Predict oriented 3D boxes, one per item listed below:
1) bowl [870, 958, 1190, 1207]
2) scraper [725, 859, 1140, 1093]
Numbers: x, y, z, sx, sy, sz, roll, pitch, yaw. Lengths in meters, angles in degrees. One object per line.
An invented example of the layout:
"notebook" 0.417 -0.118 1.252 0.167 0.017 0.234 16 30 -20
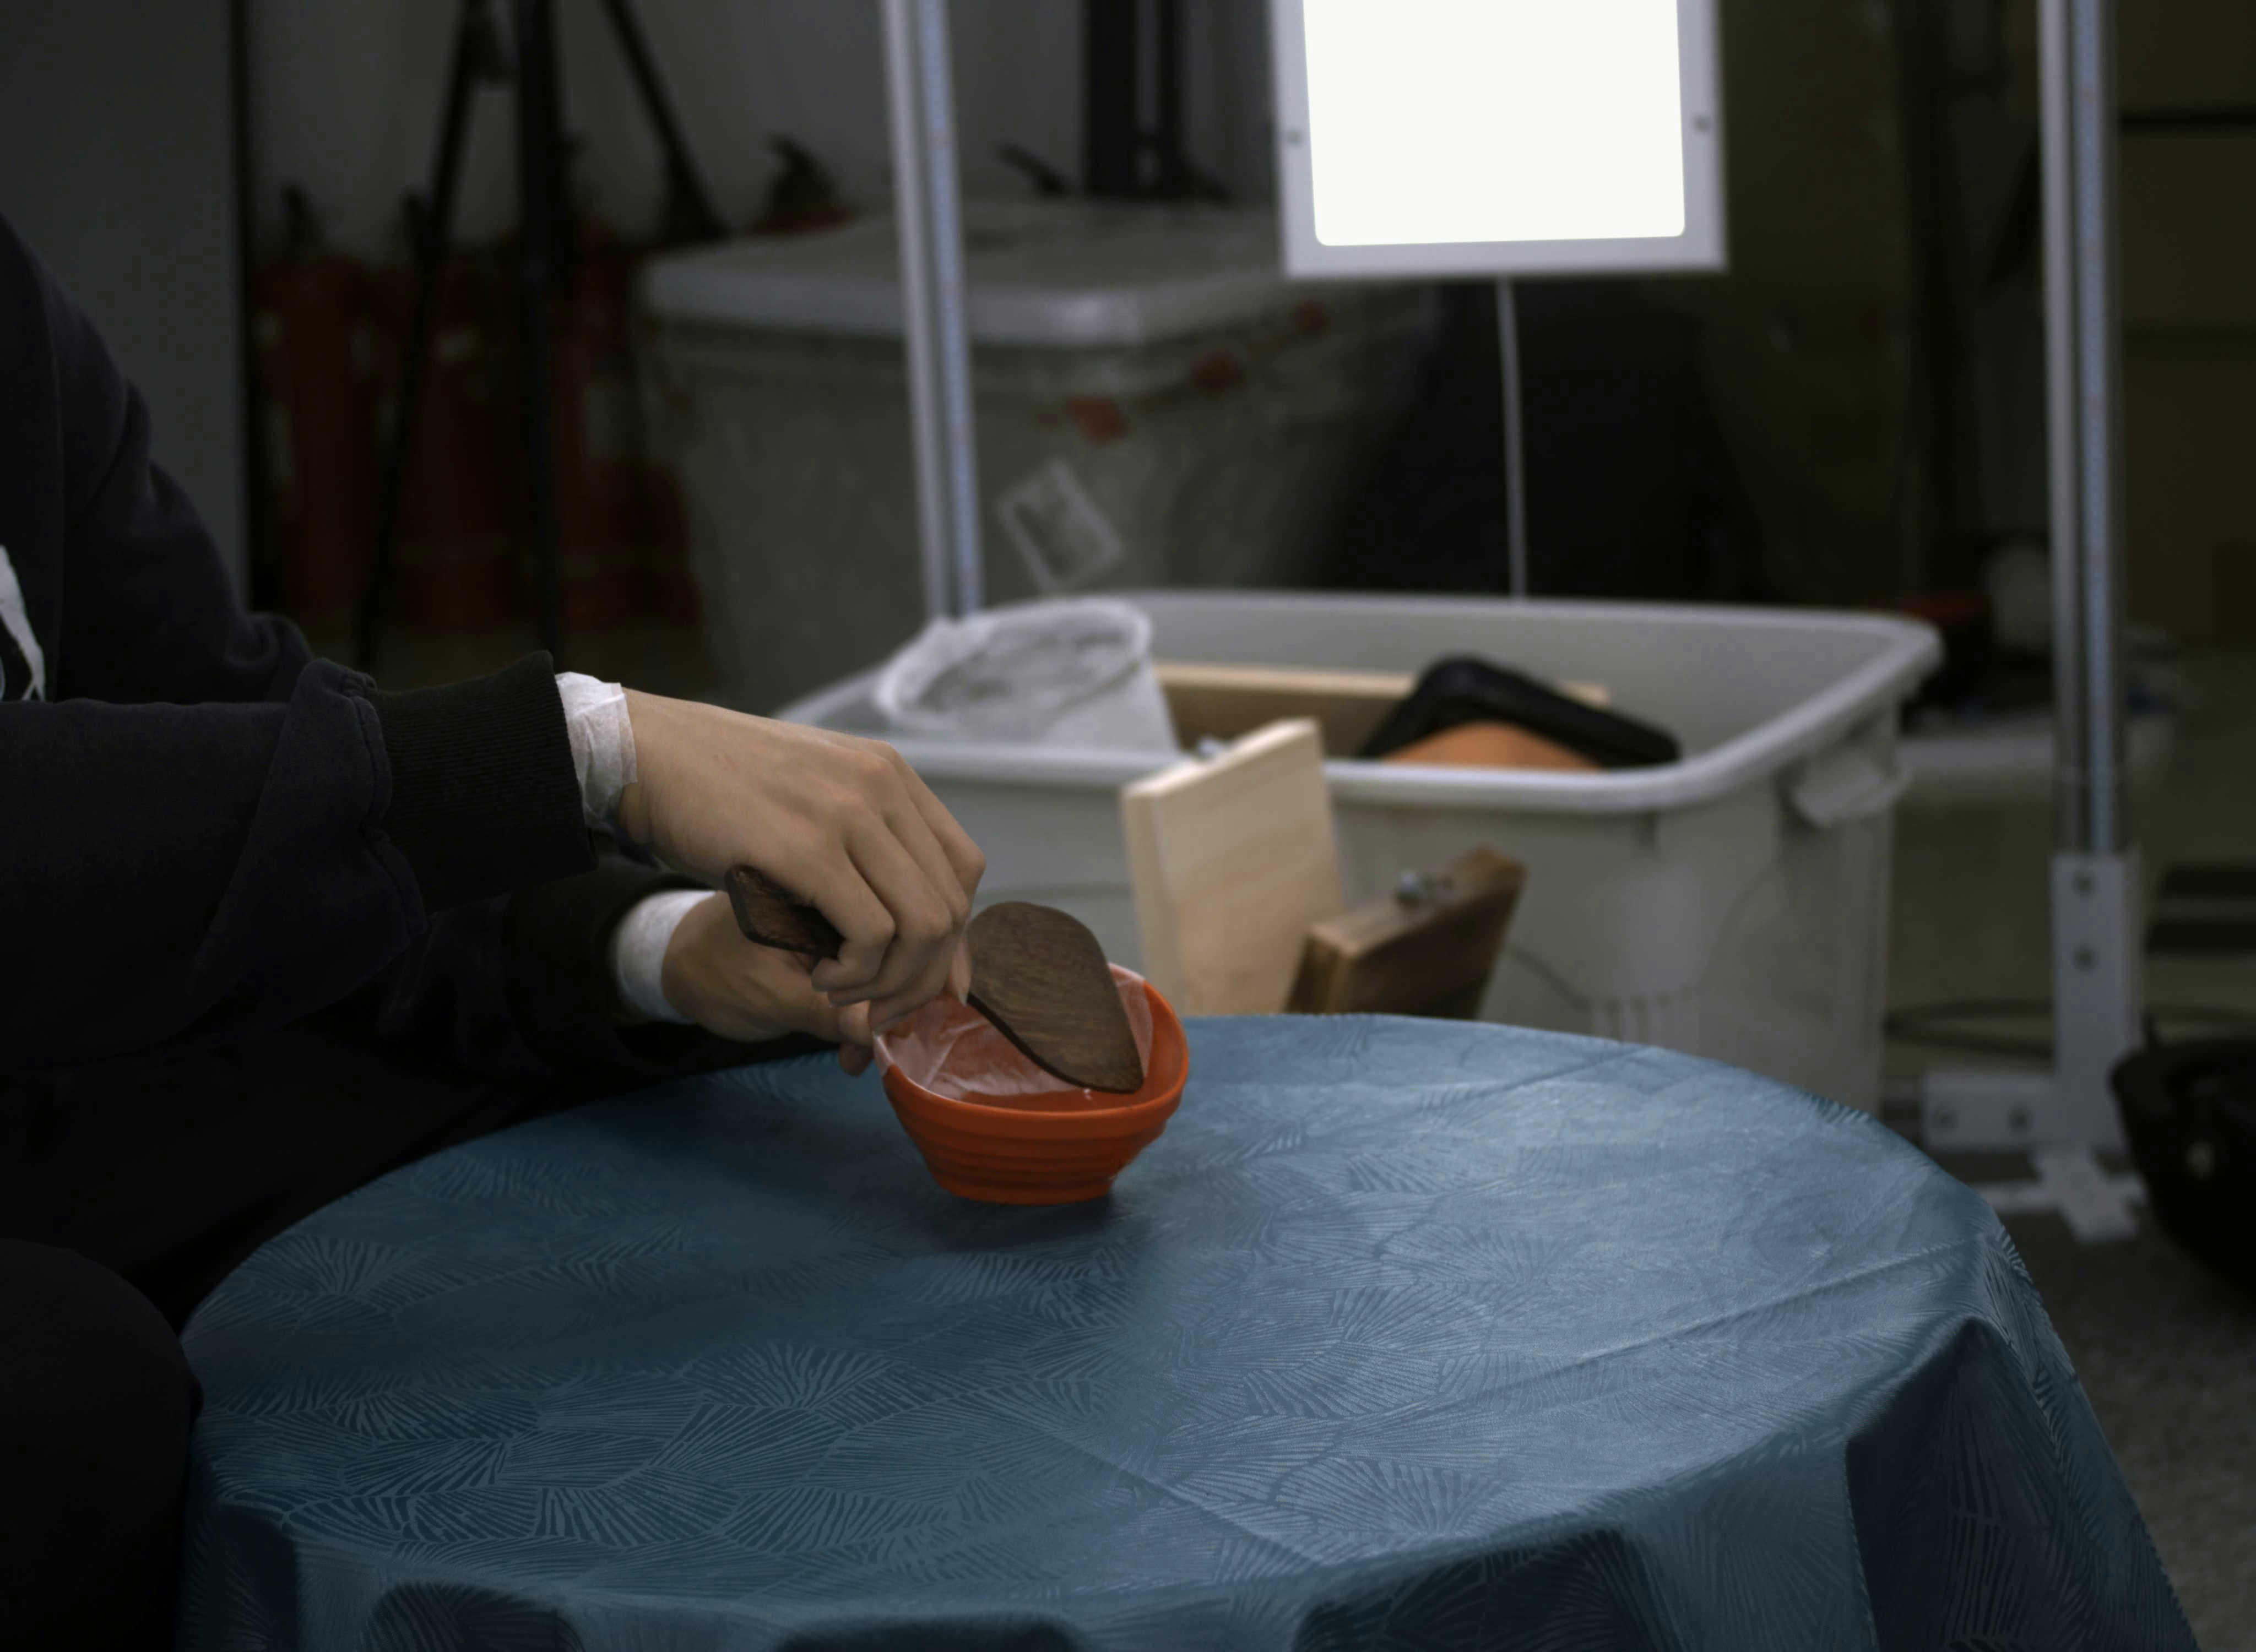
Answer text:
"bowl" -0.036 0.092 1.906 0.118 0.052 0.118 4 30 -4
"scraper" -0.066 0.042 1.838 0.011 0.076 0.207 -34 -29 25
